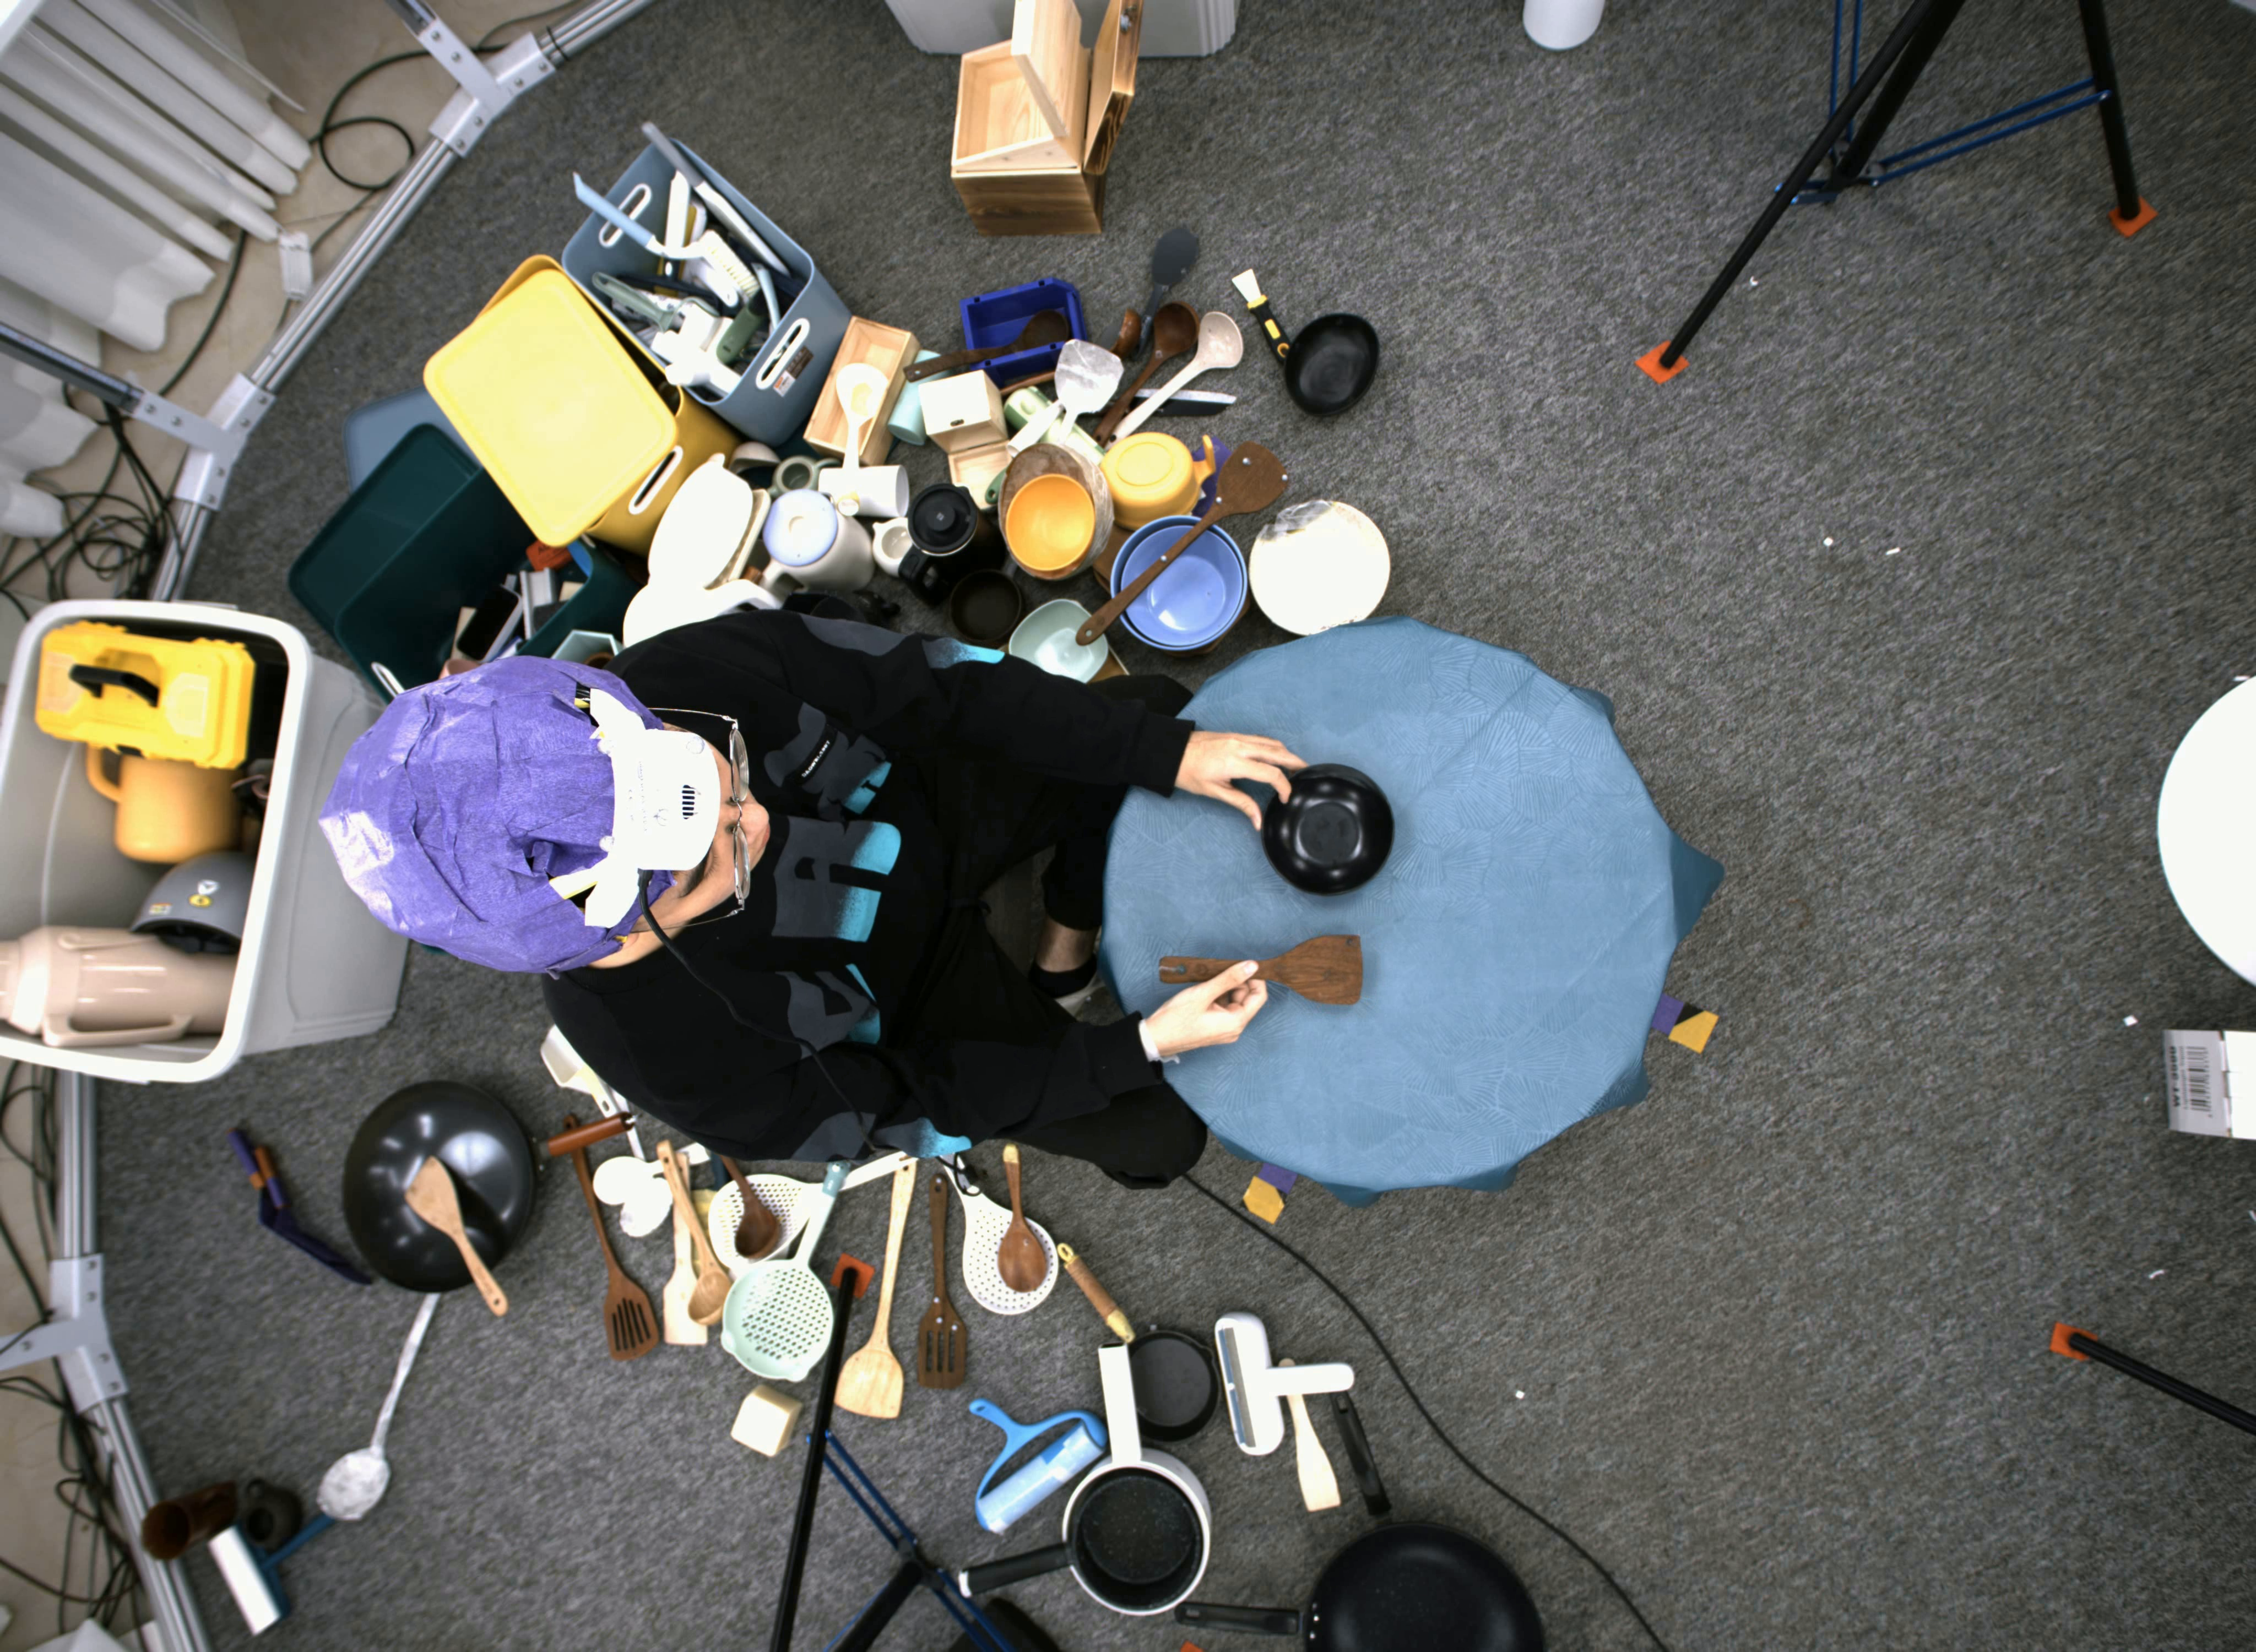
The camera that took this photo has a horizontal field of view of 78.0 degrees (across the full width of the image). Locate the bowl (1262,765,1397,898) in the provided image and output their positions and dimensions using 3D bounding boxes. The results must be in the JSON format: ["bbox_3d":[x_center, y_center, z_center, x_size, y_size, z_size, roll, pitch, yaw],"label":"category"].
[{"bbox_3d":[0.212,0.006,1.456,0.140,0.049,0.139,0,89,11],"label":"bowl"}]

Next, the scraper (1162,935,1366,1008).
[{"bbox_3d":[0.140,0.149,1.430,0.211,0.011,0.076,1,96,-3],"label":"scraper"}]
